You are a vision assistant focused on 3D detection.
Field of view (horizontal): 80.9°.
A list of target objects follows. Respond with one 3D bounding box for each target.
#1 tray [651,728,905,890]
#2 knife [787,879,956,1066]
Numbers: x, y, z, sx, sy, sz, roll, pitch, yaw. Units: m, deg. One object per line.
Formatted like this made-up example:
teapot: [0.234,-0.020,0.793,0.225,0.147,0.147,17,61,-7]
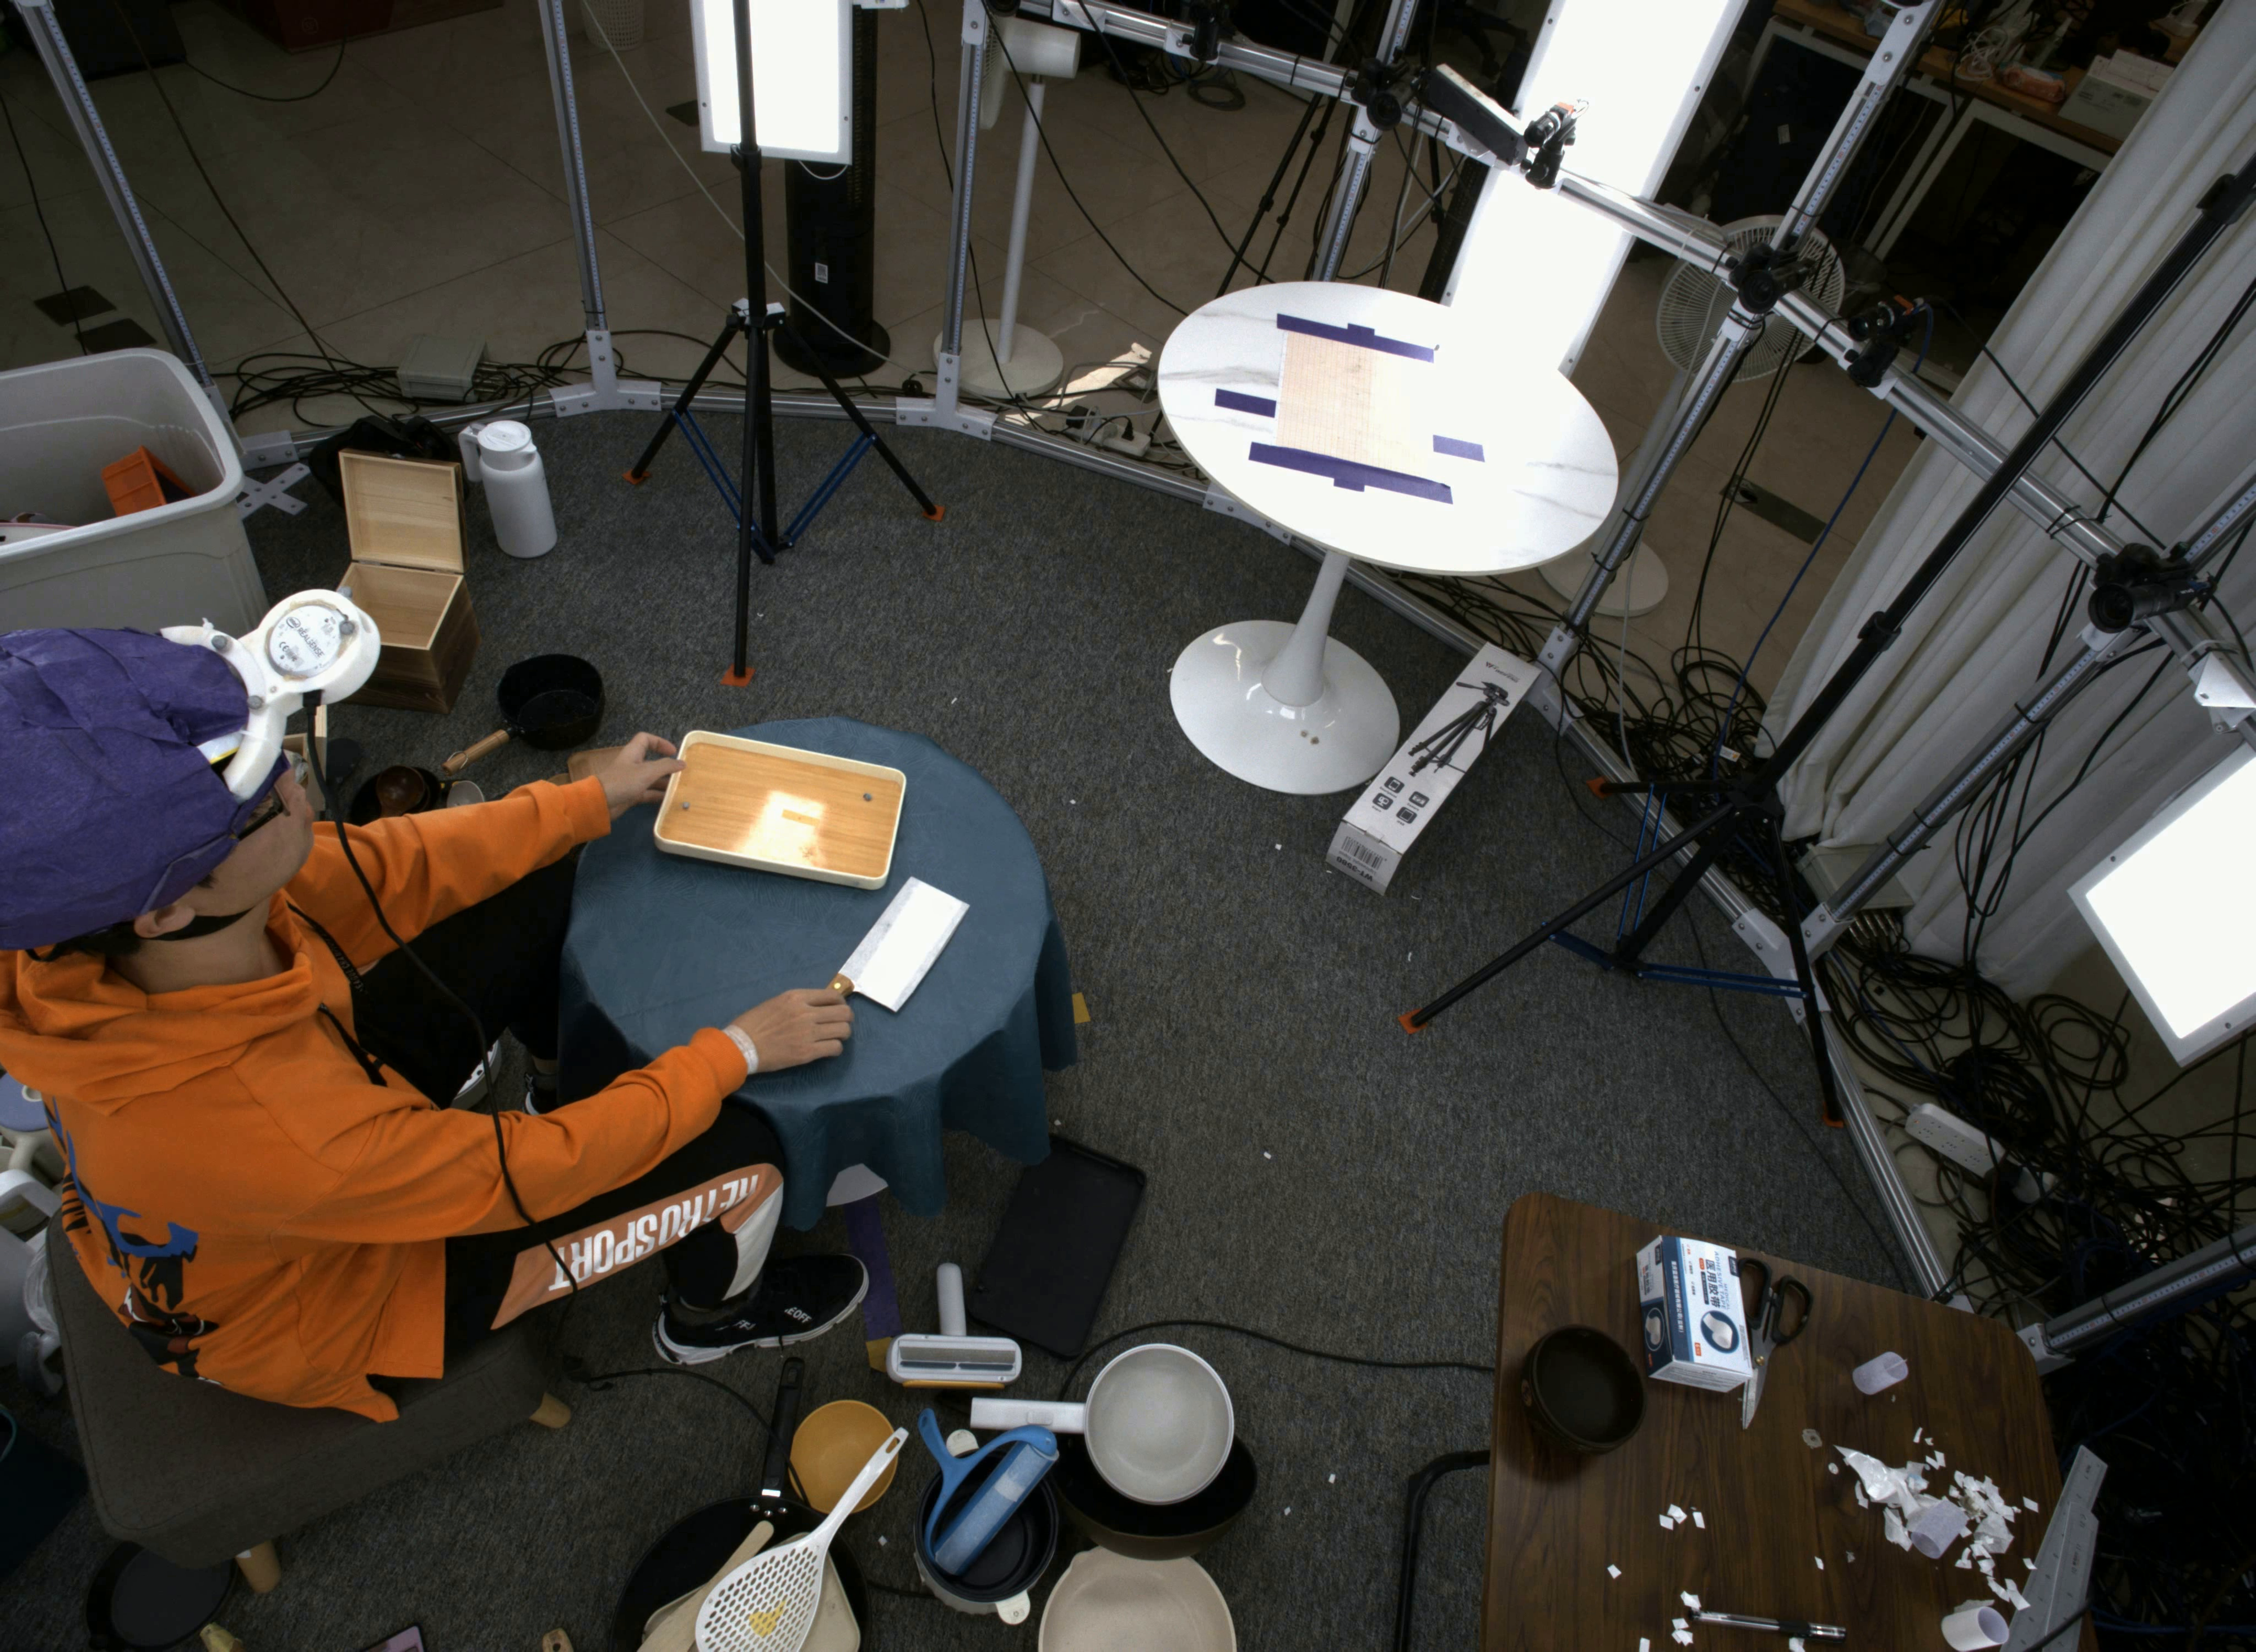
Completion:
tray: [-0.452,-0.024,1.690,0.301,0.028,0.188,12,52,-13]
knife: [-0.306,0.181,1.600,0.092,0.021,0.304,27,49,4]
